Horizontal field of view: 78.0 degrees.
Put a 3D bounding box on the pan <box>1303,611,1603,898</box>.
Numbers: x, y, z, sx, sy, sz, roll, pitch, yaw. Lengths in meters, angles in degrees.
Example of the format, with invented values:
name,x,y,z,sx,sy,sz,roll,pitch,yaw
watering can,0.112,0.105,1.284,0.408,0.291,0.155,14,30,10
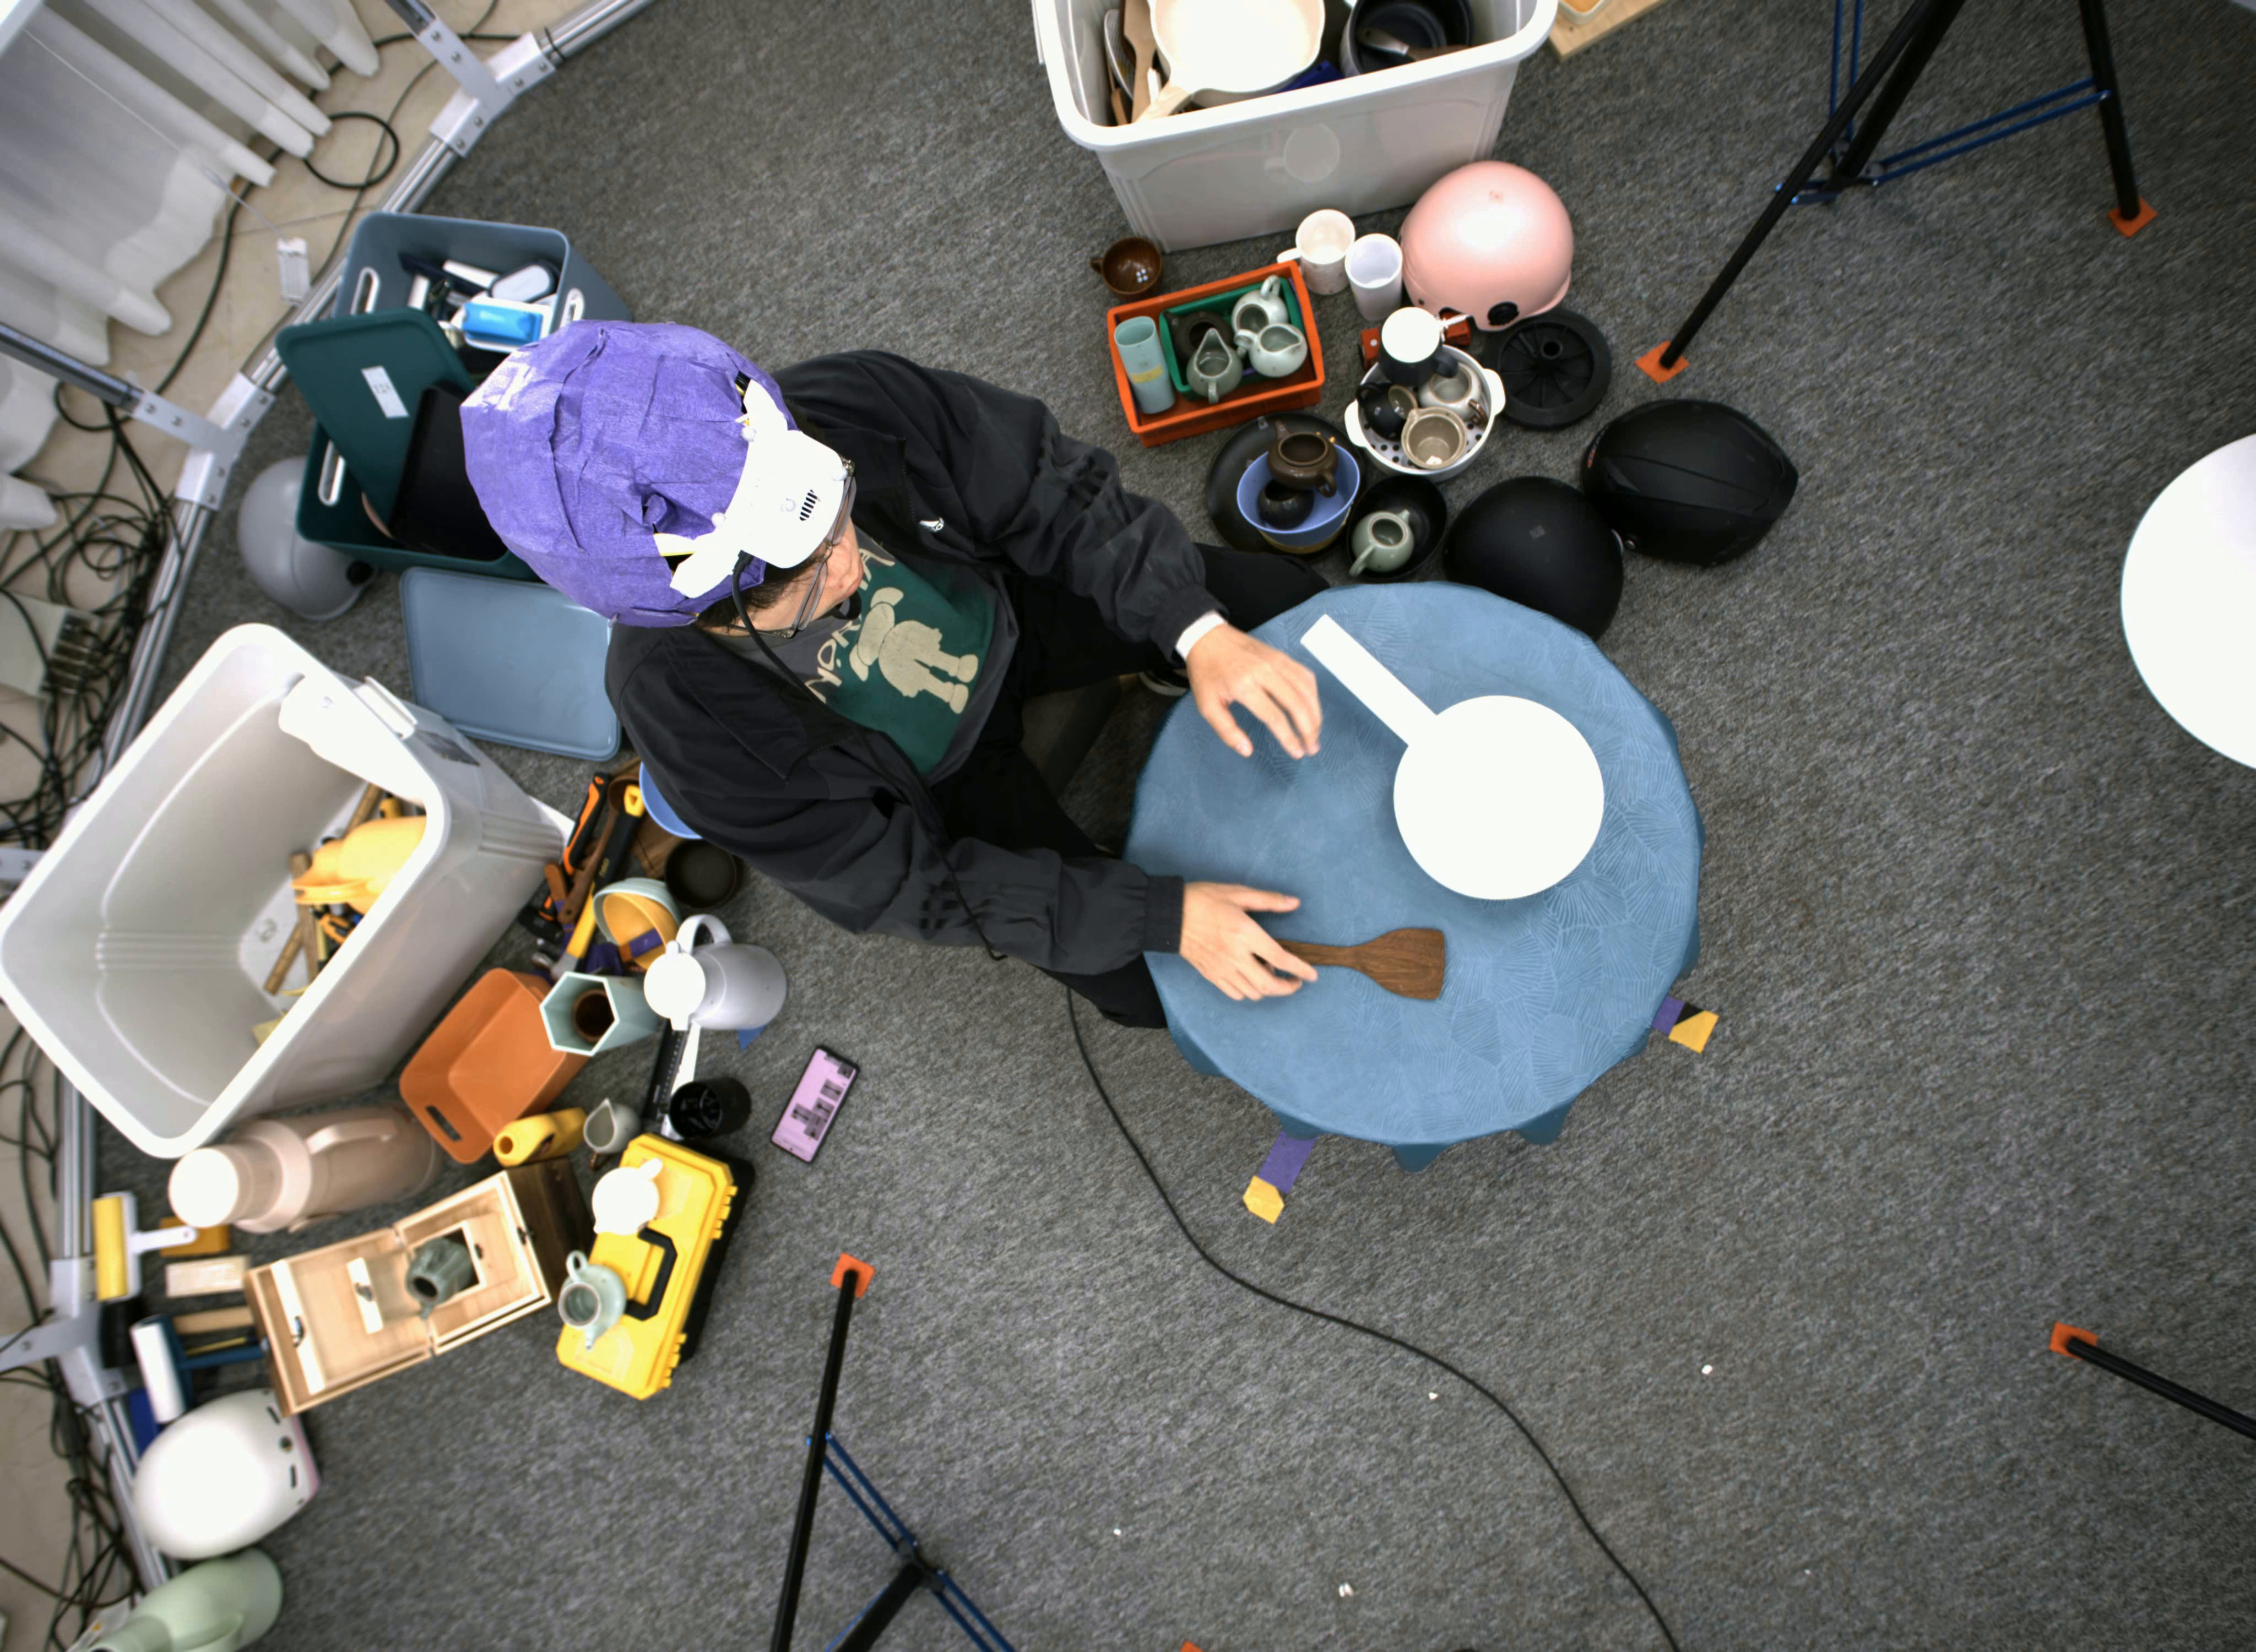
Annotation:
name,x,y,z,sx,sy,sz,roll,pitch,yaw
pan,0.319,-0.080,1.408,0.353,0.102,0.202,45,95,11

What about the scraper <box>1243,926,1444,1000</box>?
name,x,y,z,sx,sy,sz,roll,pitch,yaw
scraper,0.226,0.136,1.459,0.212,0.011,0.075,4,87,12
